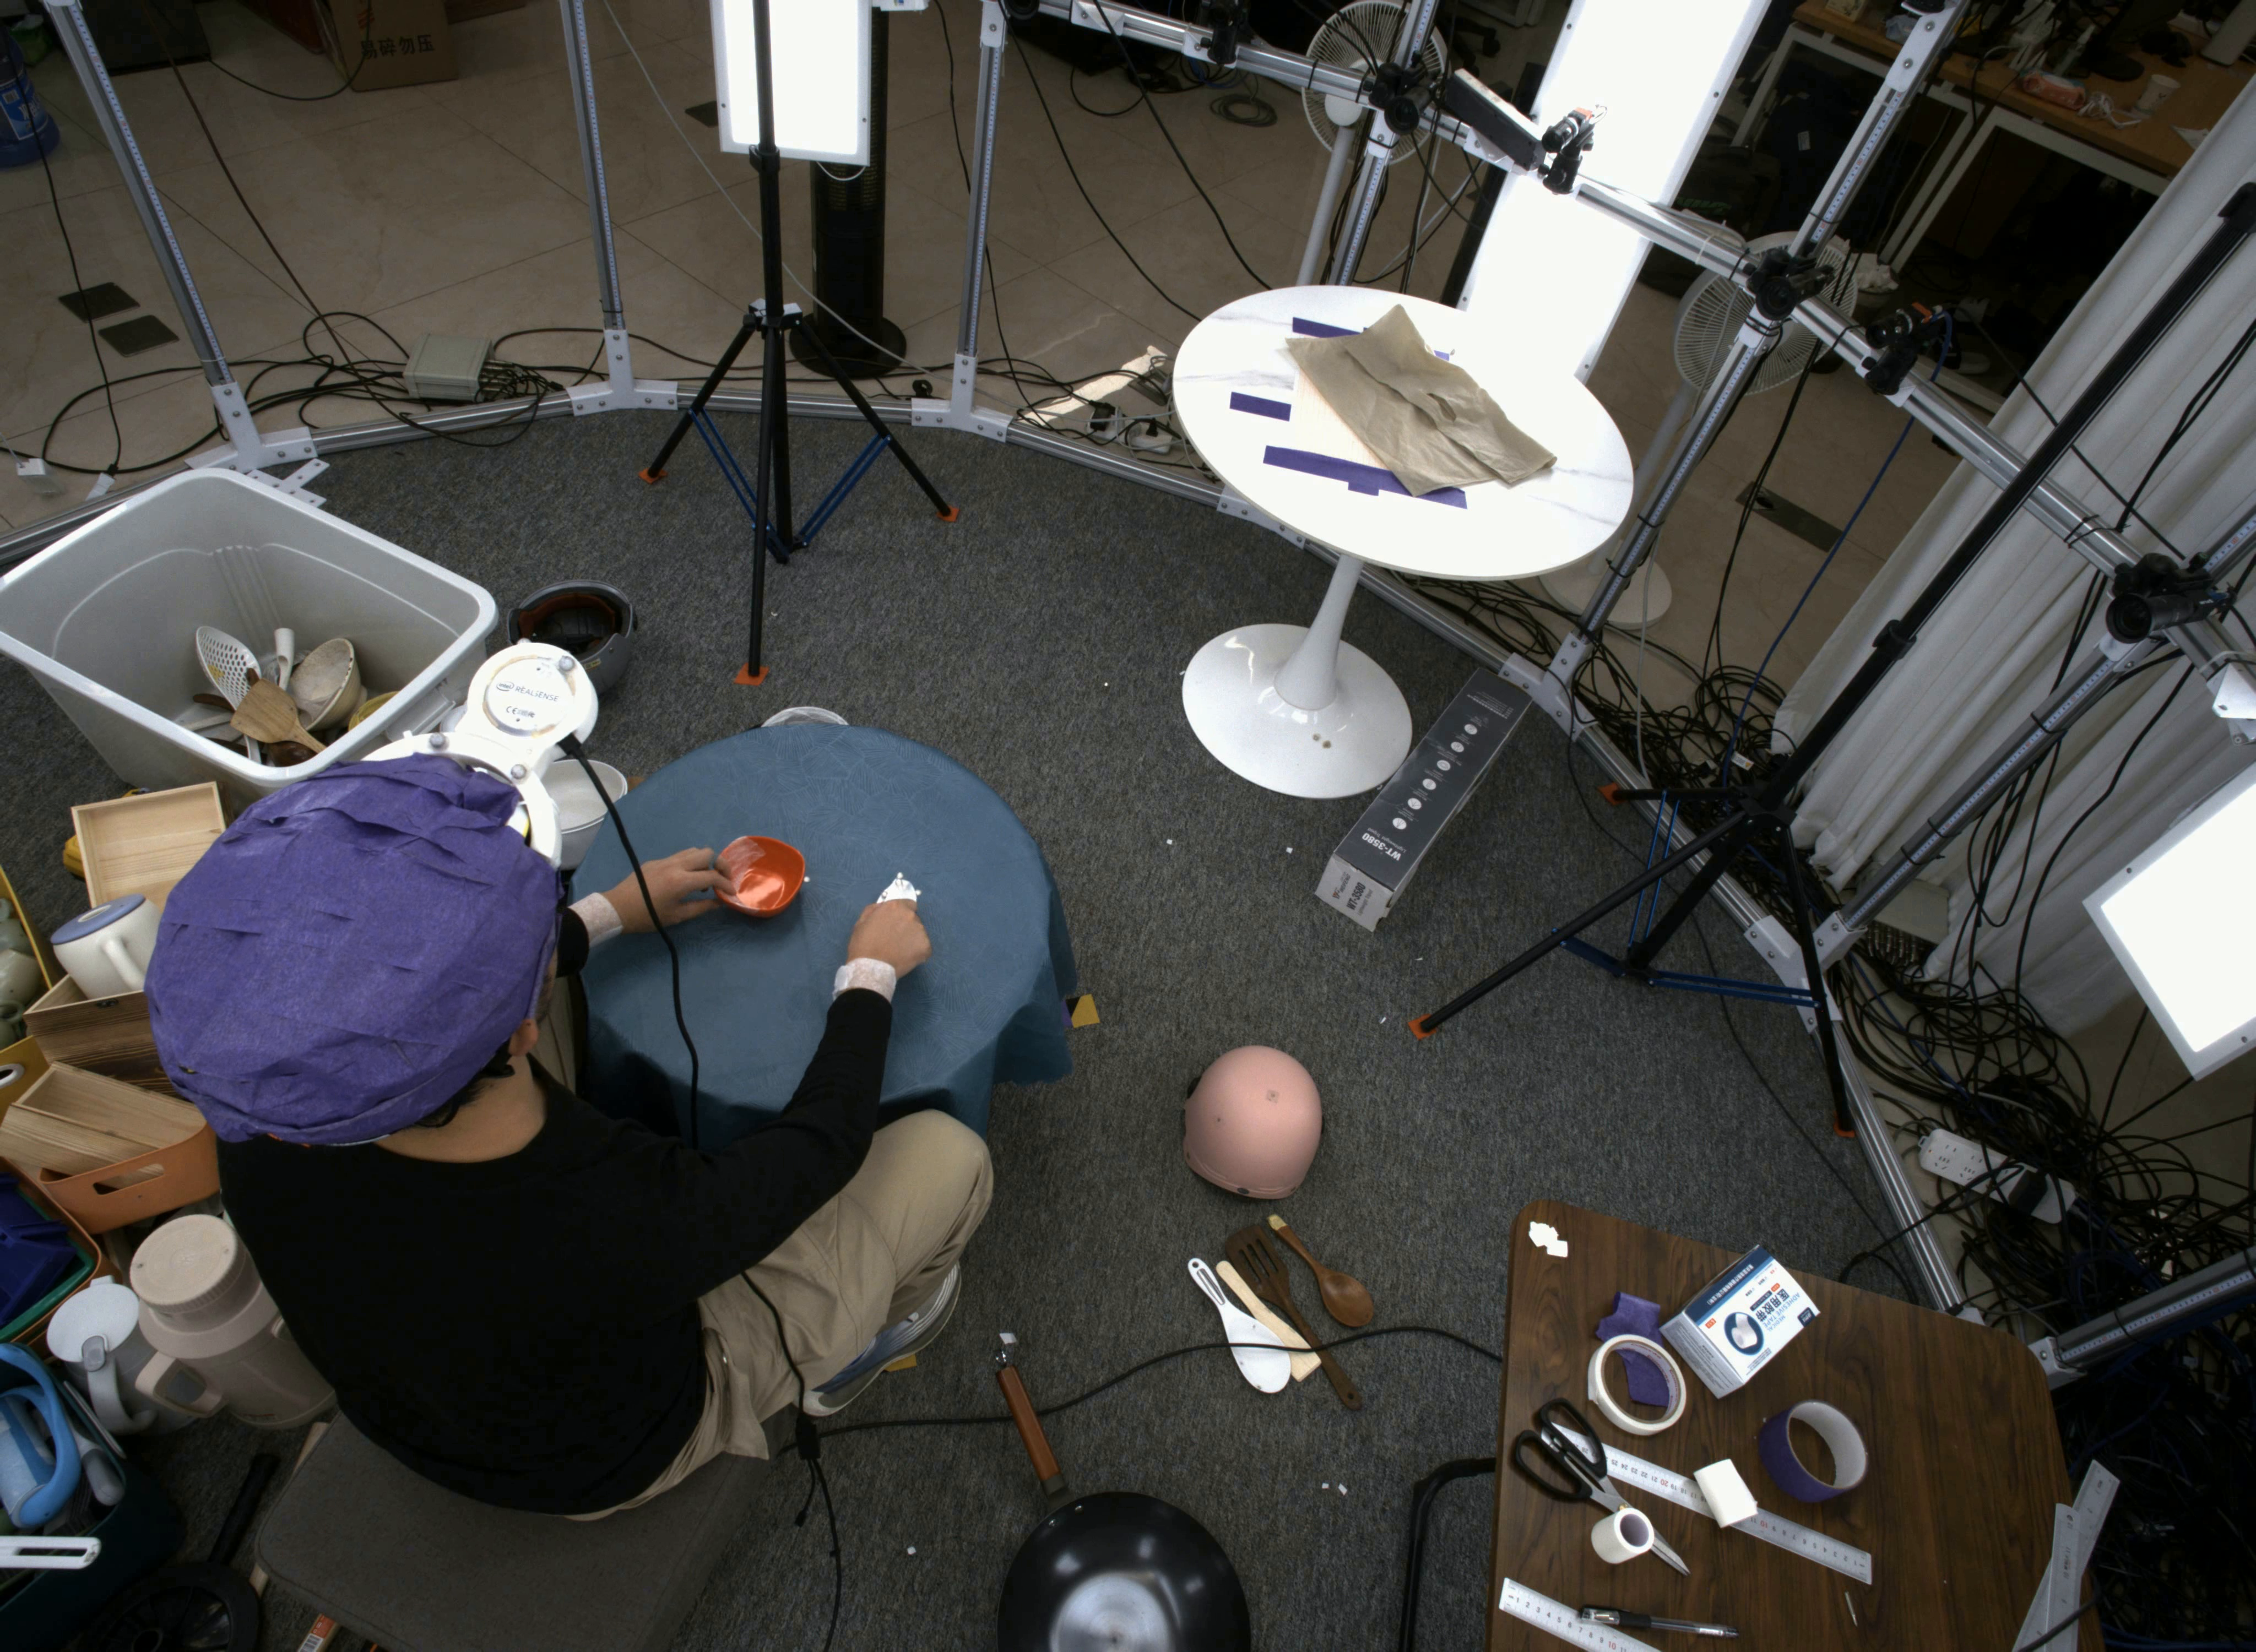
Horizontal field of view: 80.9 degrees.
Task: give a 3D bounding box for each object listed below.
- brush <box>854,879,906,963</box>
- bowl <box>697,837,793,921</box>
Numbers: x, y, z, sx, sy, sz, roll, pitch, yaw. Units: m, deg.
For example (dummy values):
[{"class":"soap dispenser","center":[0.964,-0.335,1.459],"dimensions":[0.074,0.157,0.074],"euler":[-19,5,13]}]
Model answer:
[{"class":"brush","center":[-0.309,0.109,1.620],"dimensions":[0.050,0.074,0.098],"euler":[17,51,0]},{"class":"bowl","center":[-0.477,0.073,1.616],"dimensions":[0.119,0.052,0.116],"euler":[9,49,-9]}]
